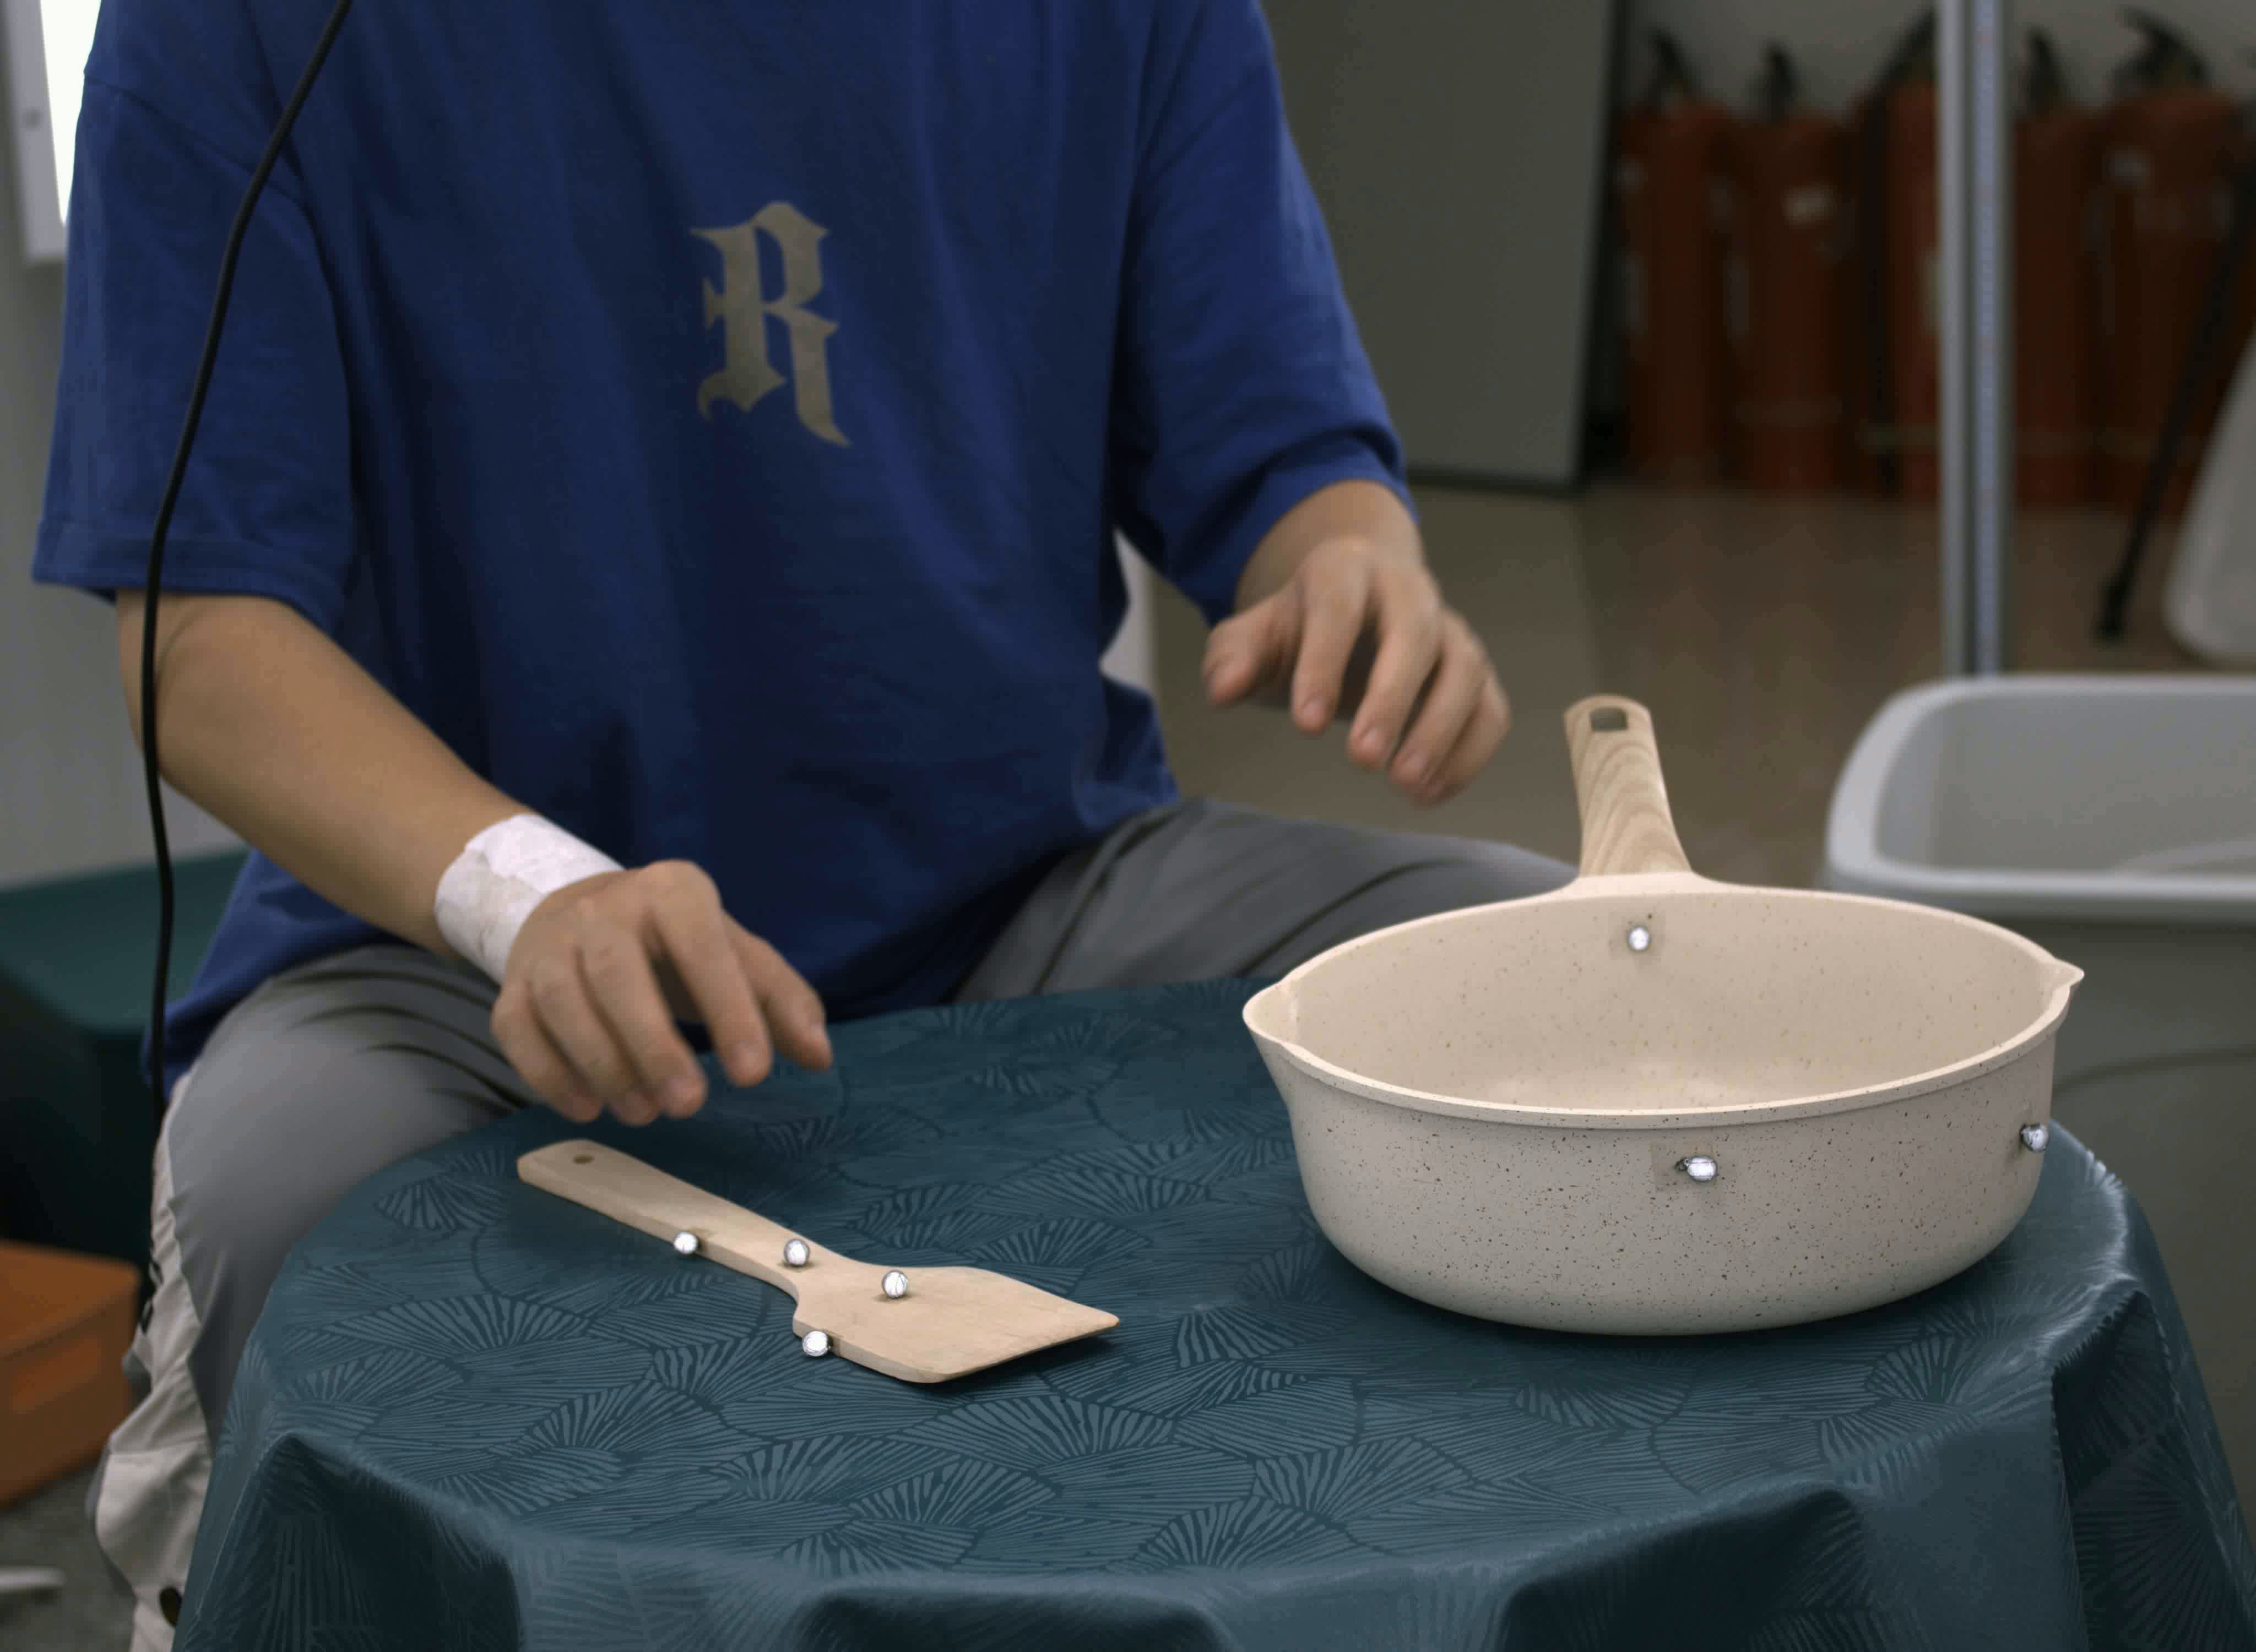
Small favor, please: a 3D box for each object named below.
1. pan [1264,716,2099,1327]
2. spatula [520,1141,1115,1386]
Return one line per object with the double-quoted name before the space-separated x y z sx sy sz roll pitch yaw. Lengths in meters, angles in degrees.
"pan" 0.174 0.059 1.765 0.260 0.103 0.435 -6 13 2
"spatula" -0.114 0.136 1.724 0.071 0.011 0.296 -15 17 -33
